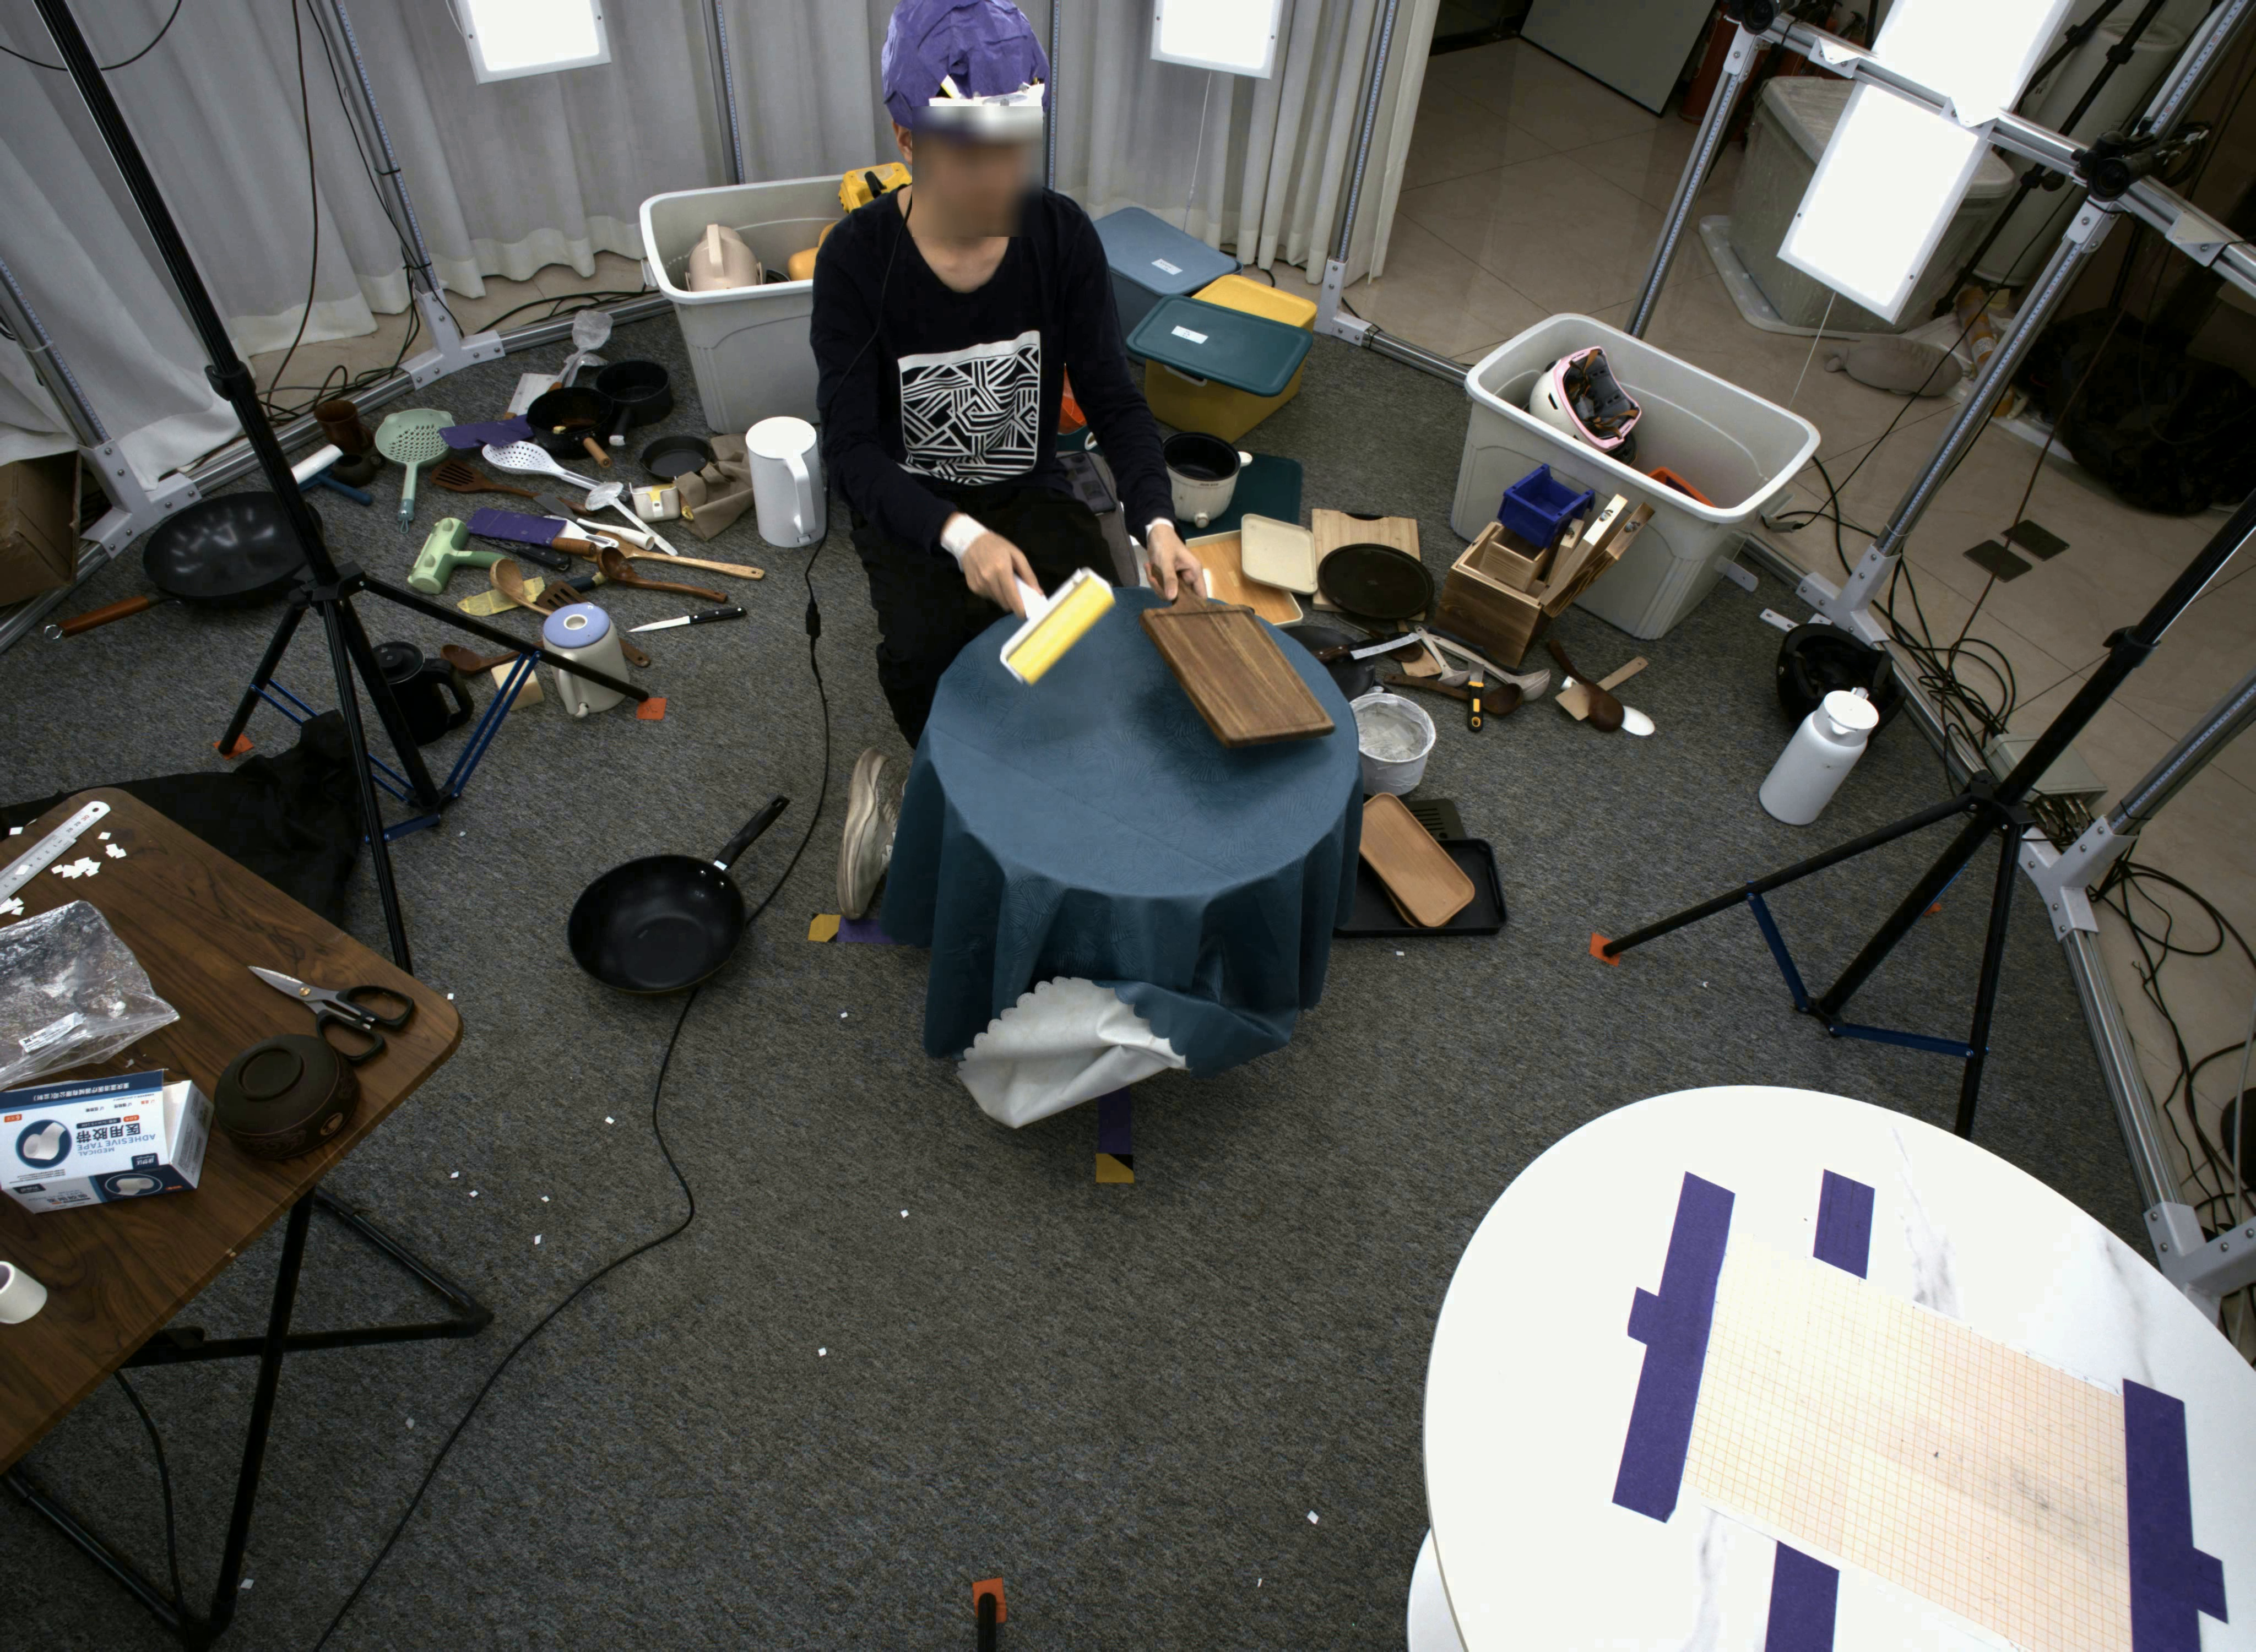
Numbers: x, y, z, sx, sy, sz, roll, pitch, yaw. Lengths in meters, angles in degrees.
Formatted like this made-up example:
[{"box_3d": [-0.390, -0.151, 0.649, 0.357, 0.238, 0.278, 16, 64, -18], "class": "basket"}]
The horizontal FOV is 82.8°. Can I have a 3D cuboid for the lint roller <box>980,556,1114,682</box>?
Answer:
[{"box_3d": [-0.140, -0.314, 1.755, 0.194, 0.051, 0.174, 43, 90, 20], "class": "lint roller"}]

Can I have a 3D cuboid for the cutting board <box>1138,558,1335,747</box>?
[{"box_3d": [0.127, -0.252, 1.797, 0.201, 0.023, 0.359, -8, 53, -36], "class": "cutting board"}]
